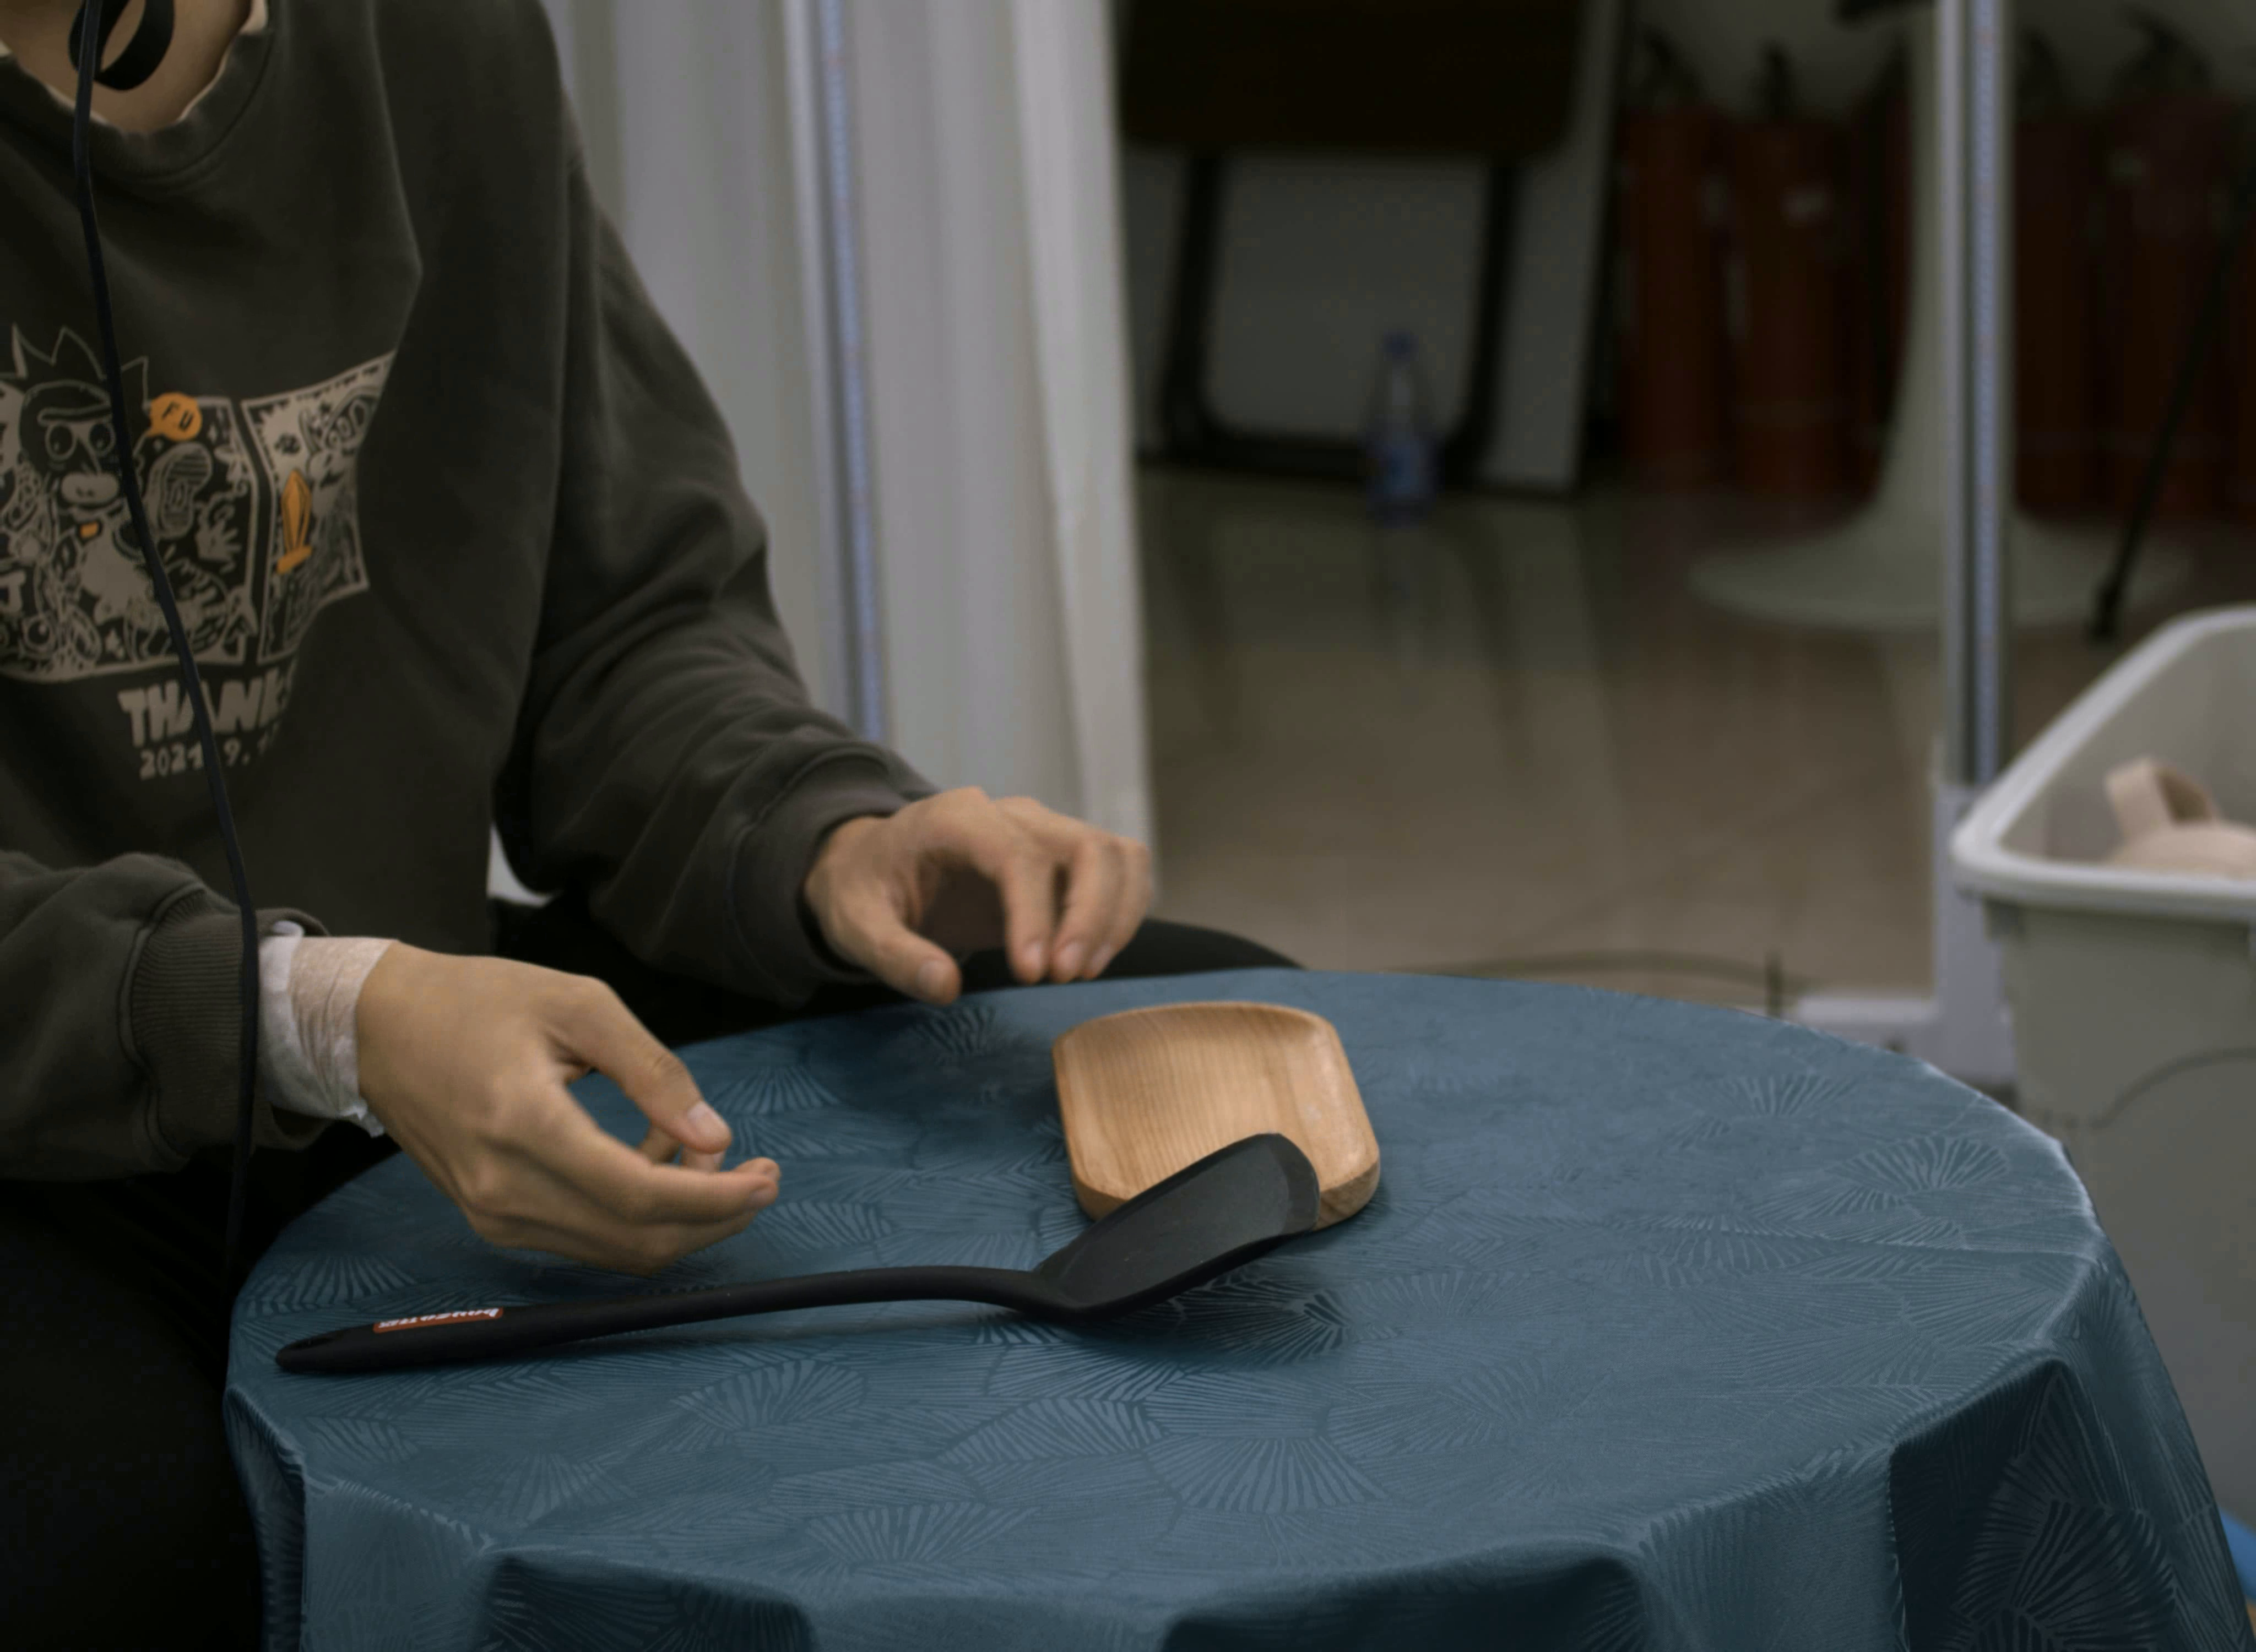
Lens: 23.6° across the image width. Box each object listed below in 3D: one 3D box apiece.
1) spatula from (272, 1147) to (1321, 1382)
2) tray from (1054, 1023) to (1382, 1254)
[{"bbox_3d":[-0.101,0.140,1.653,0.321,0.041,0.100,-4,12,-1],"label":"spatula"},{"bbox_3d":[0.029,0.103,1.813,0.100,0.020,0.232,-5,14,-2],"label":"tray"}]
